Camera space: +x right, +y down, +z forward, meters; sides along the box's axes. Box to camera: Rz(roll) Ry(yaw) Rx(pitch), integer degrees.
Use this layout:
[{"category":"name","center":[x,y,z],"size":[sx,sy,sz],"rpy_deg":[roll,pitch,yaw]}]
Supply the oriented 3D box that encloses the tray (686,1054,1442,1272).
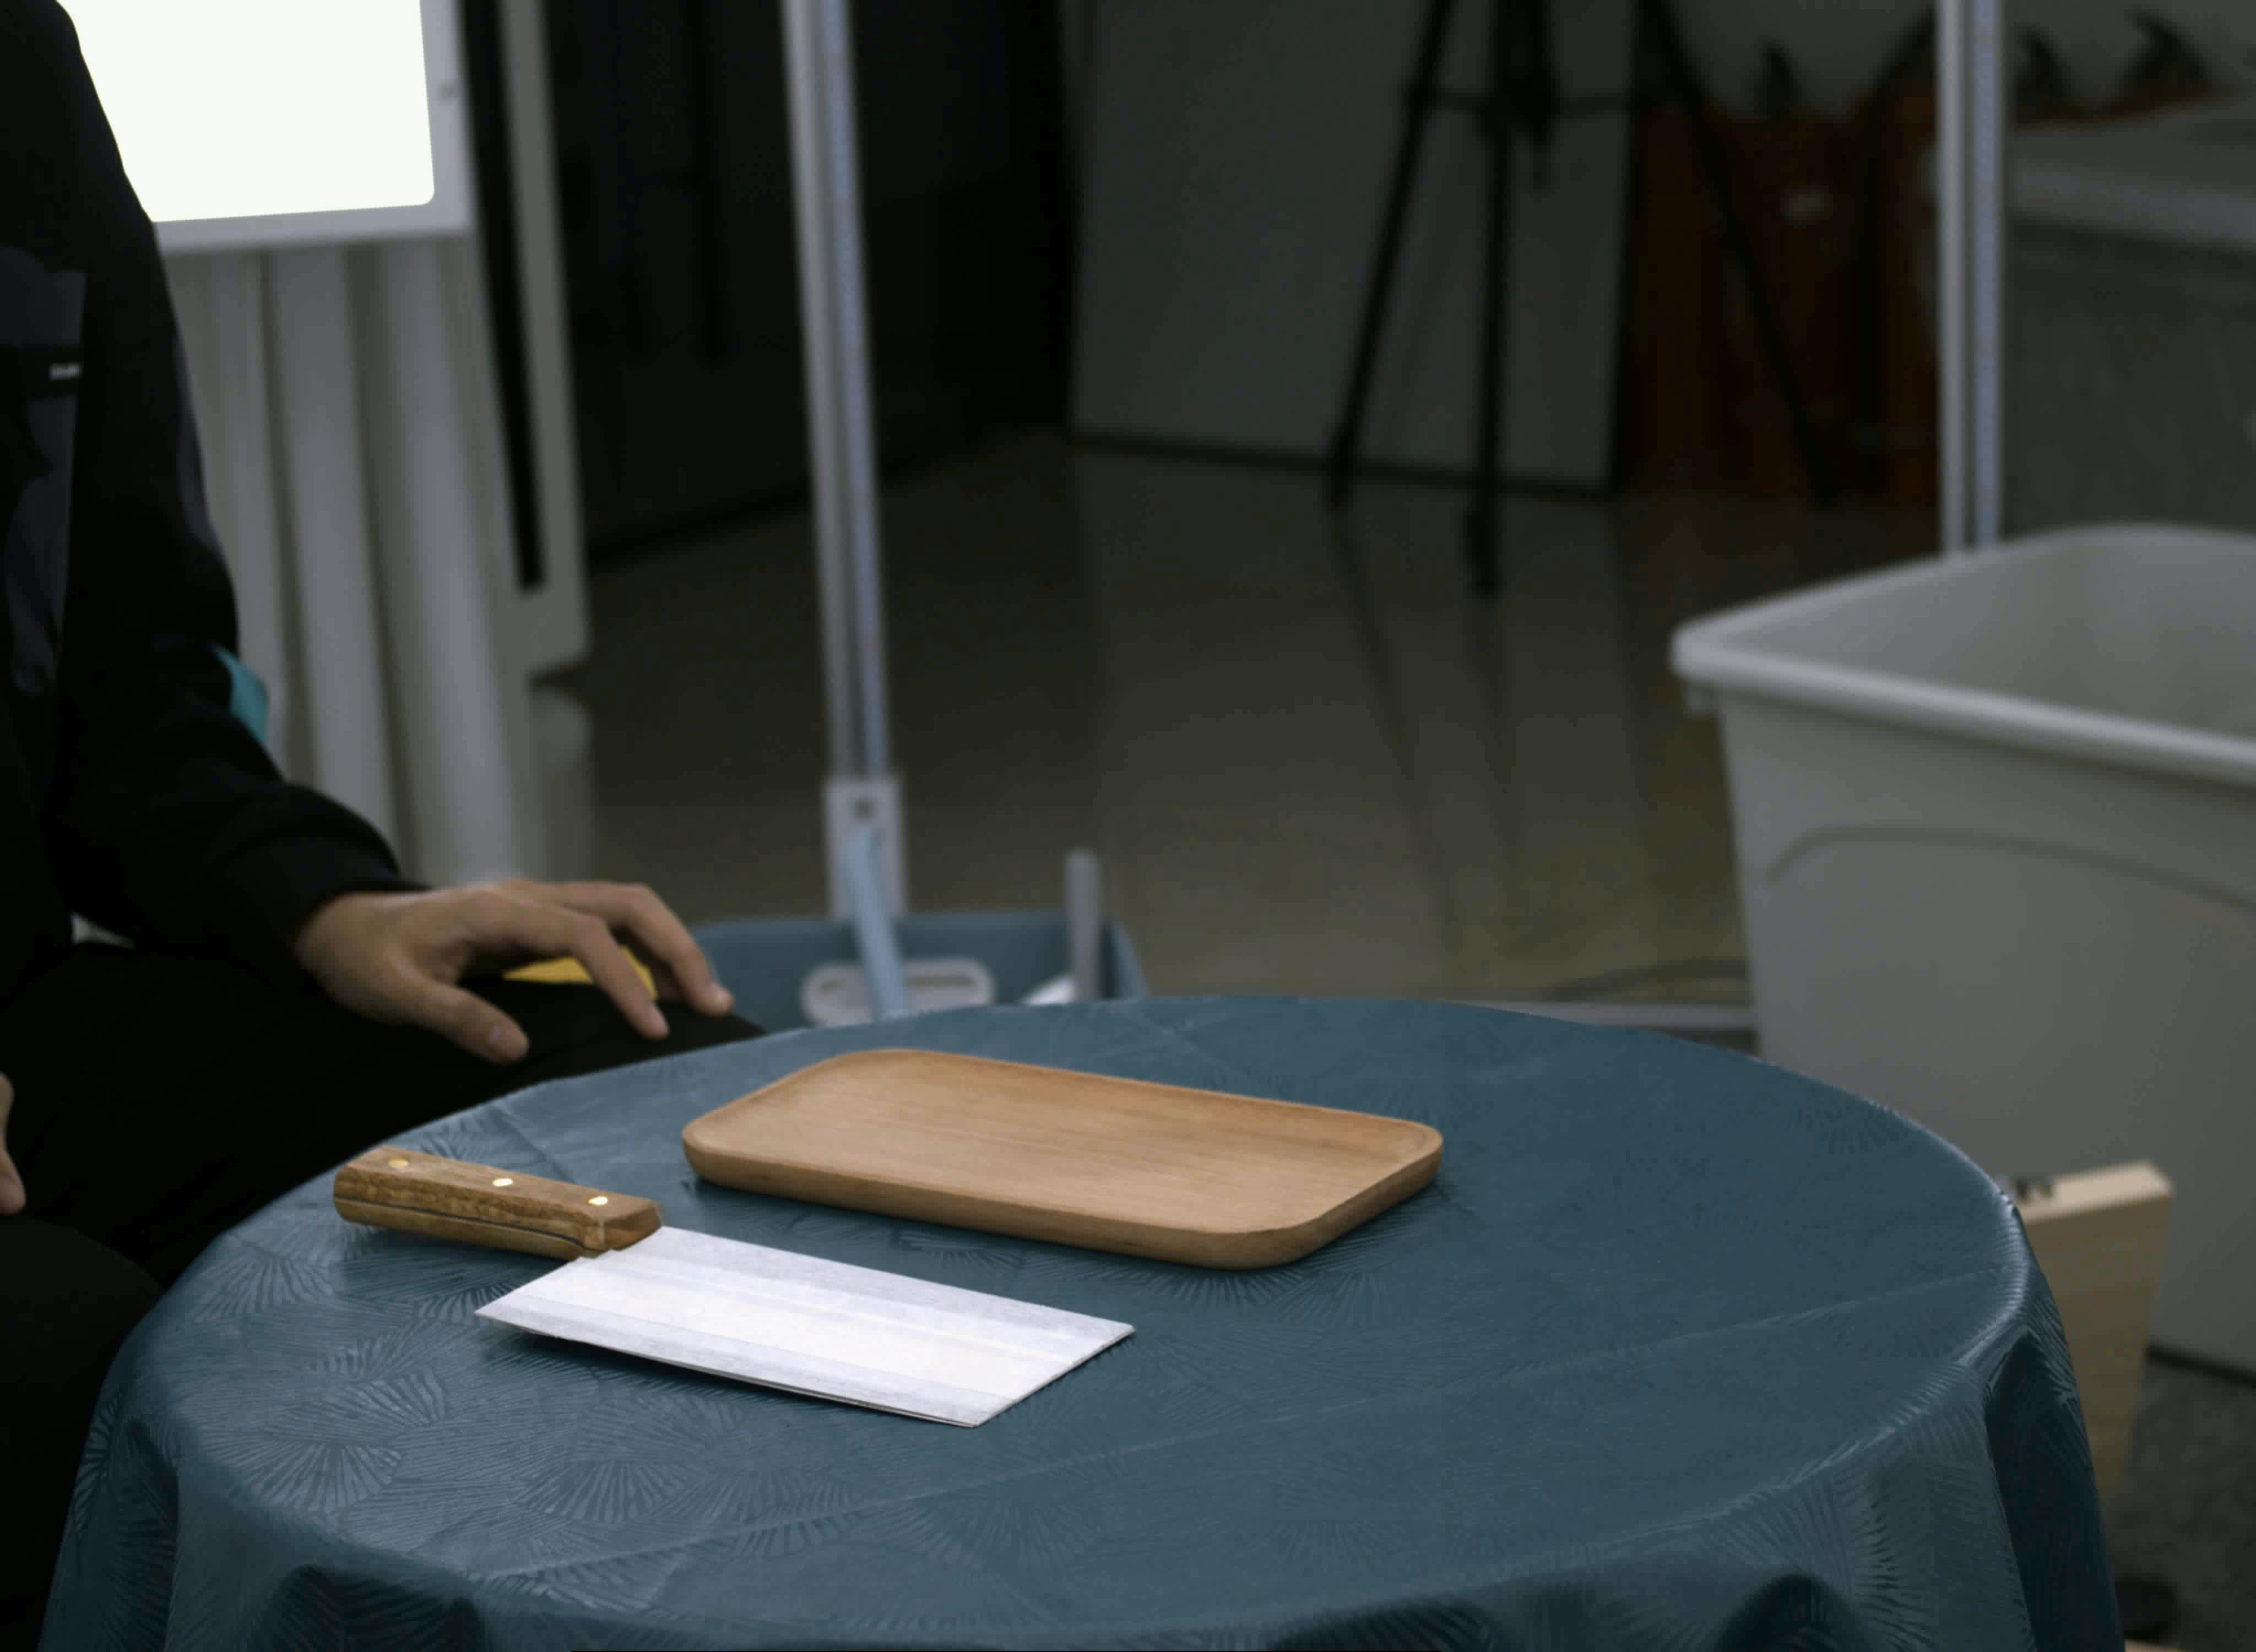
[{"category":"tray","center":[-0.023,0.110,1.789],"size":[0.252,0.023,0.128],"rpy_deg":[5,14,37]}]

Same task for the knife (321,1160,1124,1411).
[{"category":"knife","center":[-0.146,0.145,1.684],"size":[0.307,0.021,0.091],"rpy_deg":[8,19,34]}]
